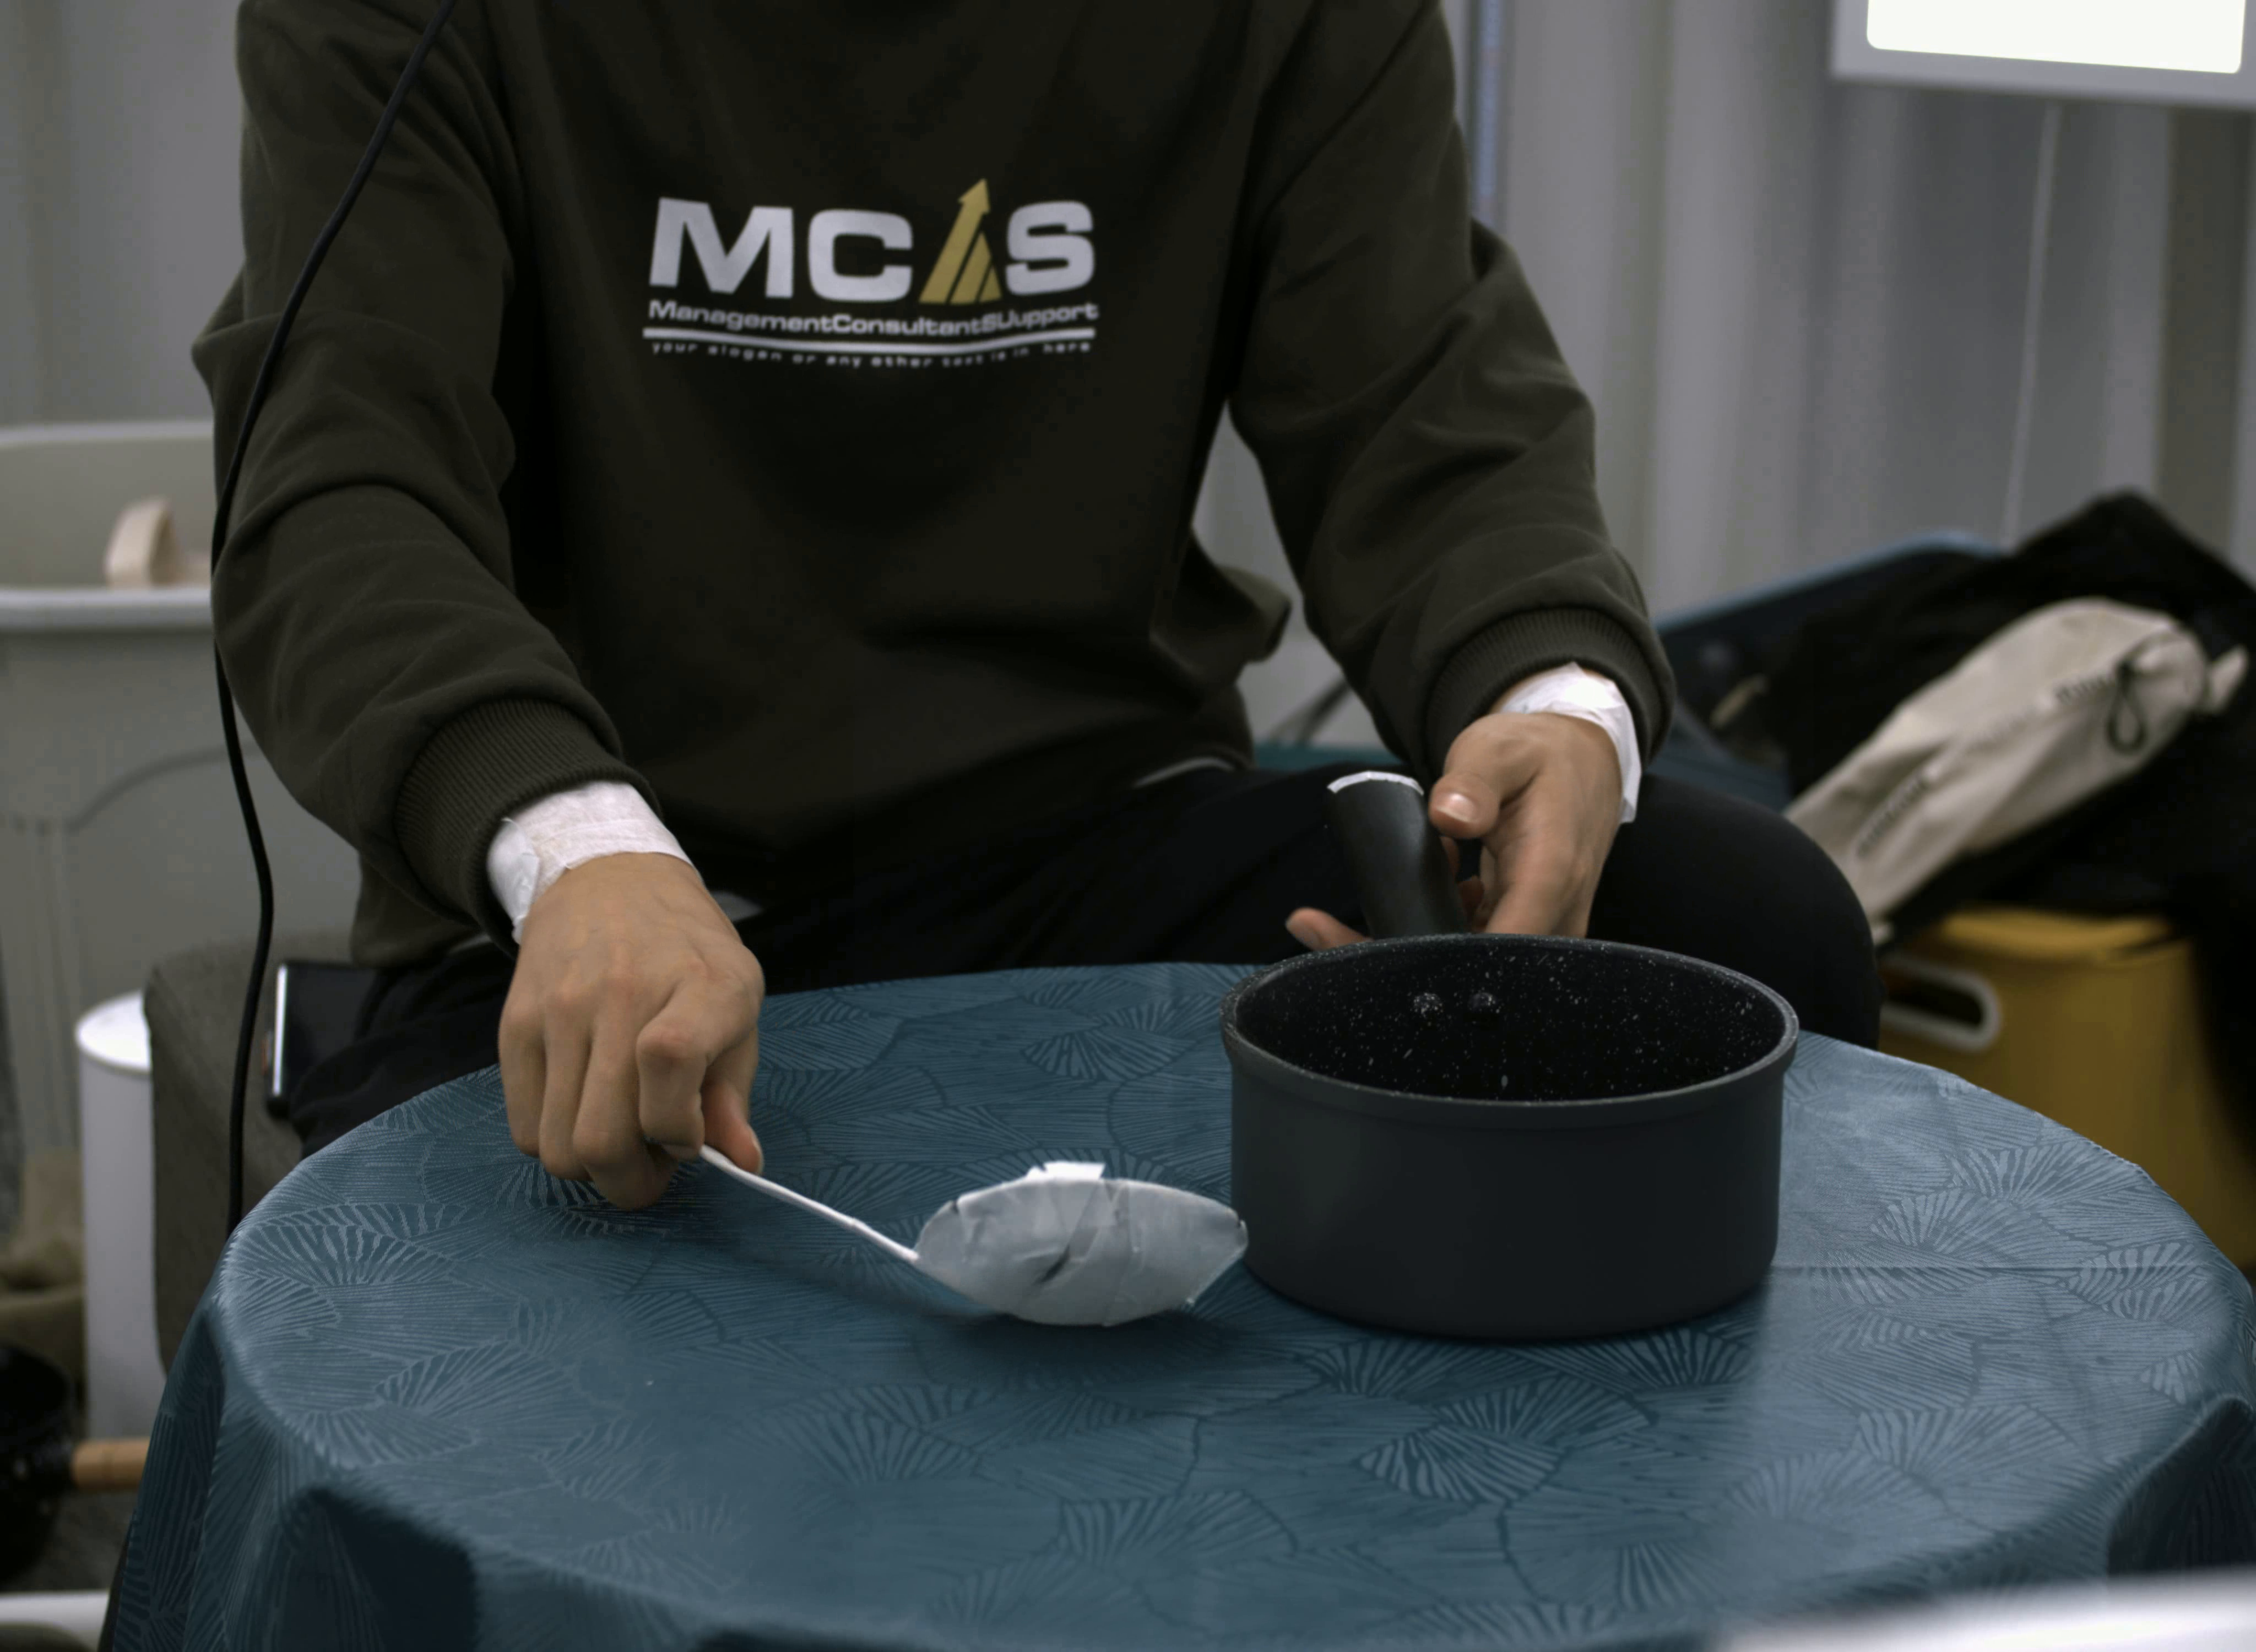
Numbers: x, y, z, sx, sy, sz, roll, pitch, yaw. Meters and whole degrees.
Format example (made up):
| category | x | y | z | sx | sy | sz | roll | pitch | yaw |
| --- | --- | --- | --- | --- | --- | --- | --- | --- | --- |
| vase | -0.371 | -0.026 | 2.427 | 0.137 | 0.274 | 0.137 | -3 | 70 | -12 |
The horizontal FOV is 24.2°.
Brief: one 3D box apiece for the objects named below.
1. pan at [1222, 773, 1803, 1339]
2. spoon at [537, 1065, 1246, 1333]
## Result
| category | x | y | z | sx | sy | sz | roll | pitch | yaw |
| --- | --- | --- | --- | --- | --- | --- | --- | --- | --- |
| pan | 0.106 | 0.067 | 1.636 | 0.172 | 0.087 | 0.326 | 0 | 16 | -5 |
| spoon | -0.077 | 0.093 | 1.556 | 0.273 | 0.059 | 0.102 | 22 | -7 | 44 |
